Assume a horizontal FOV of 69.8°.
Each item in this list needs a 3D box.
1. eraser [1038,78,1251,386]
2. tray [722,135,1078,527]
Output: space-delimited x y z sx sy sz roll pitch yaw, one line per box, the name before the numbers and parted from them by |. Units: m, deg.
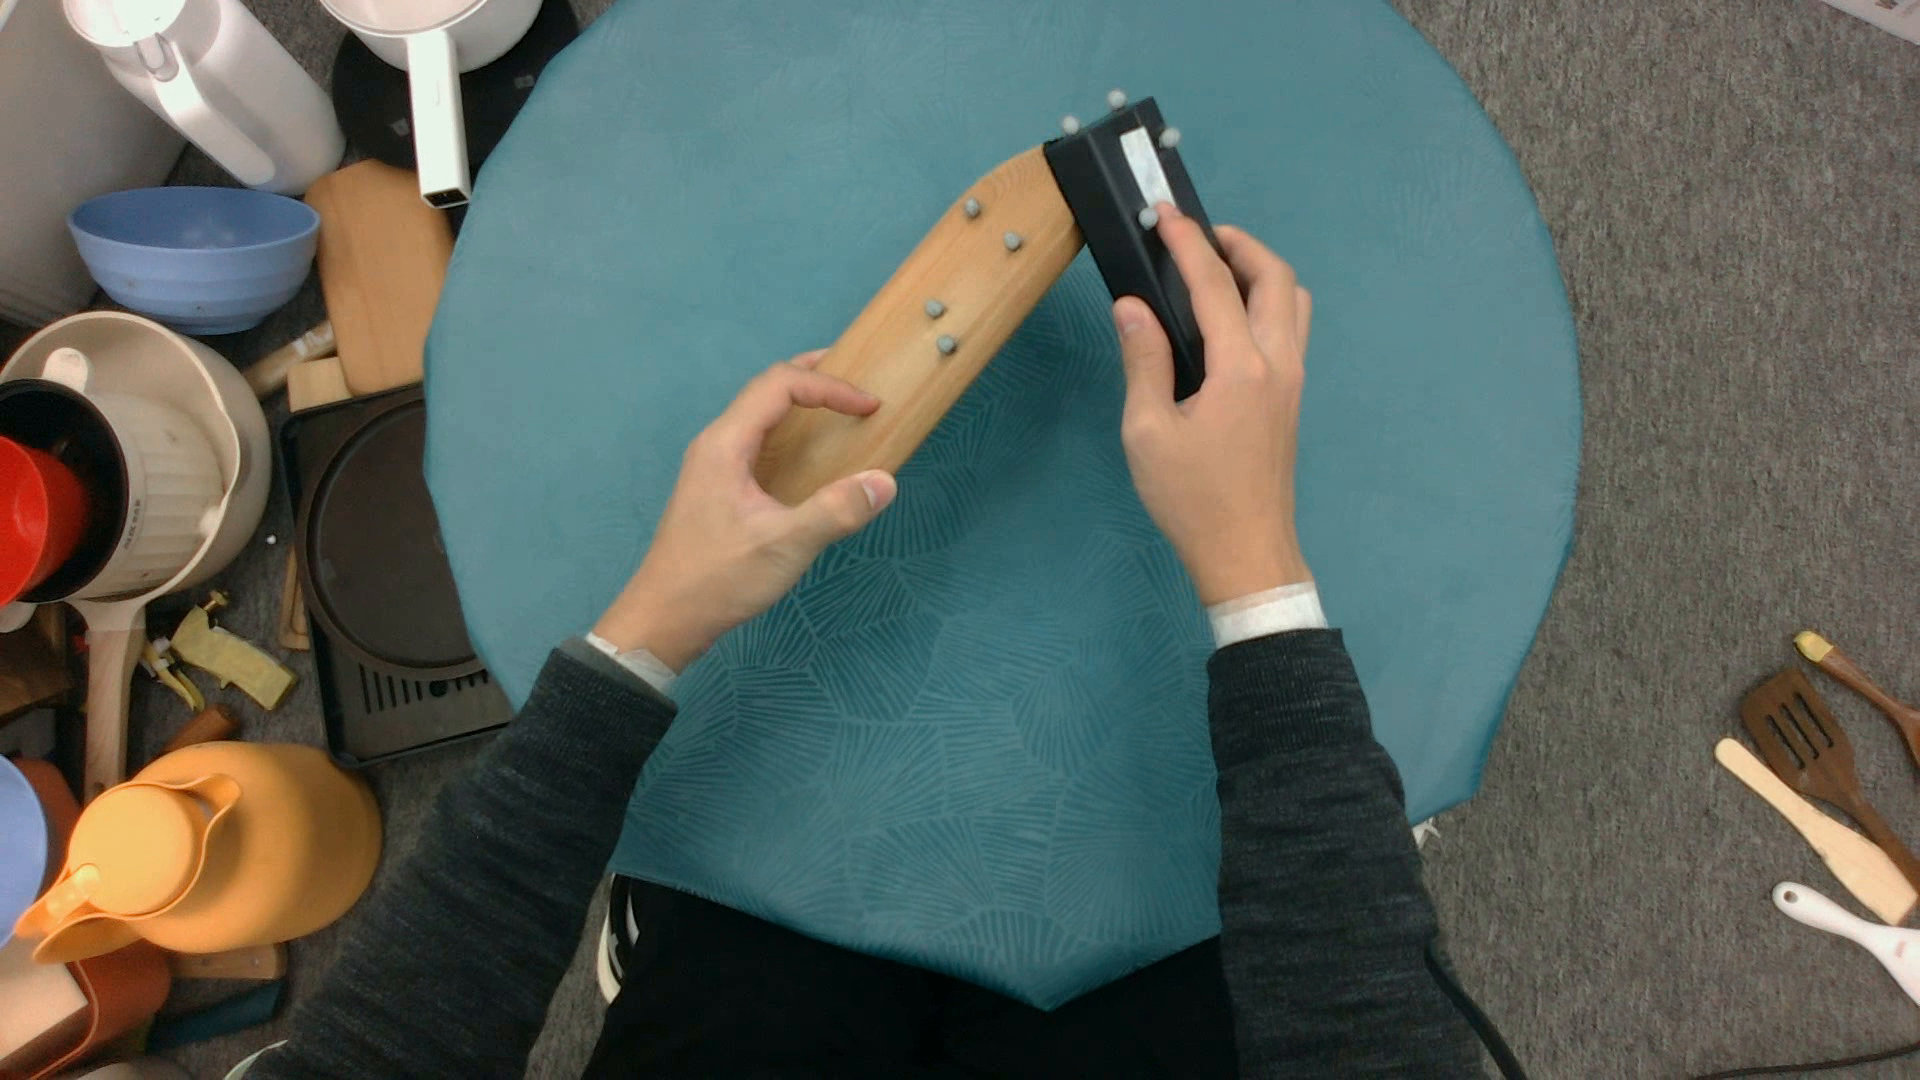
eraser | 0.082 -0.134 0.606 0.054 0.030 0.125 -36 107 -32
tray | -0.023 -0.098 0.625 0.231 0.101 0.020 -53 125 -12
